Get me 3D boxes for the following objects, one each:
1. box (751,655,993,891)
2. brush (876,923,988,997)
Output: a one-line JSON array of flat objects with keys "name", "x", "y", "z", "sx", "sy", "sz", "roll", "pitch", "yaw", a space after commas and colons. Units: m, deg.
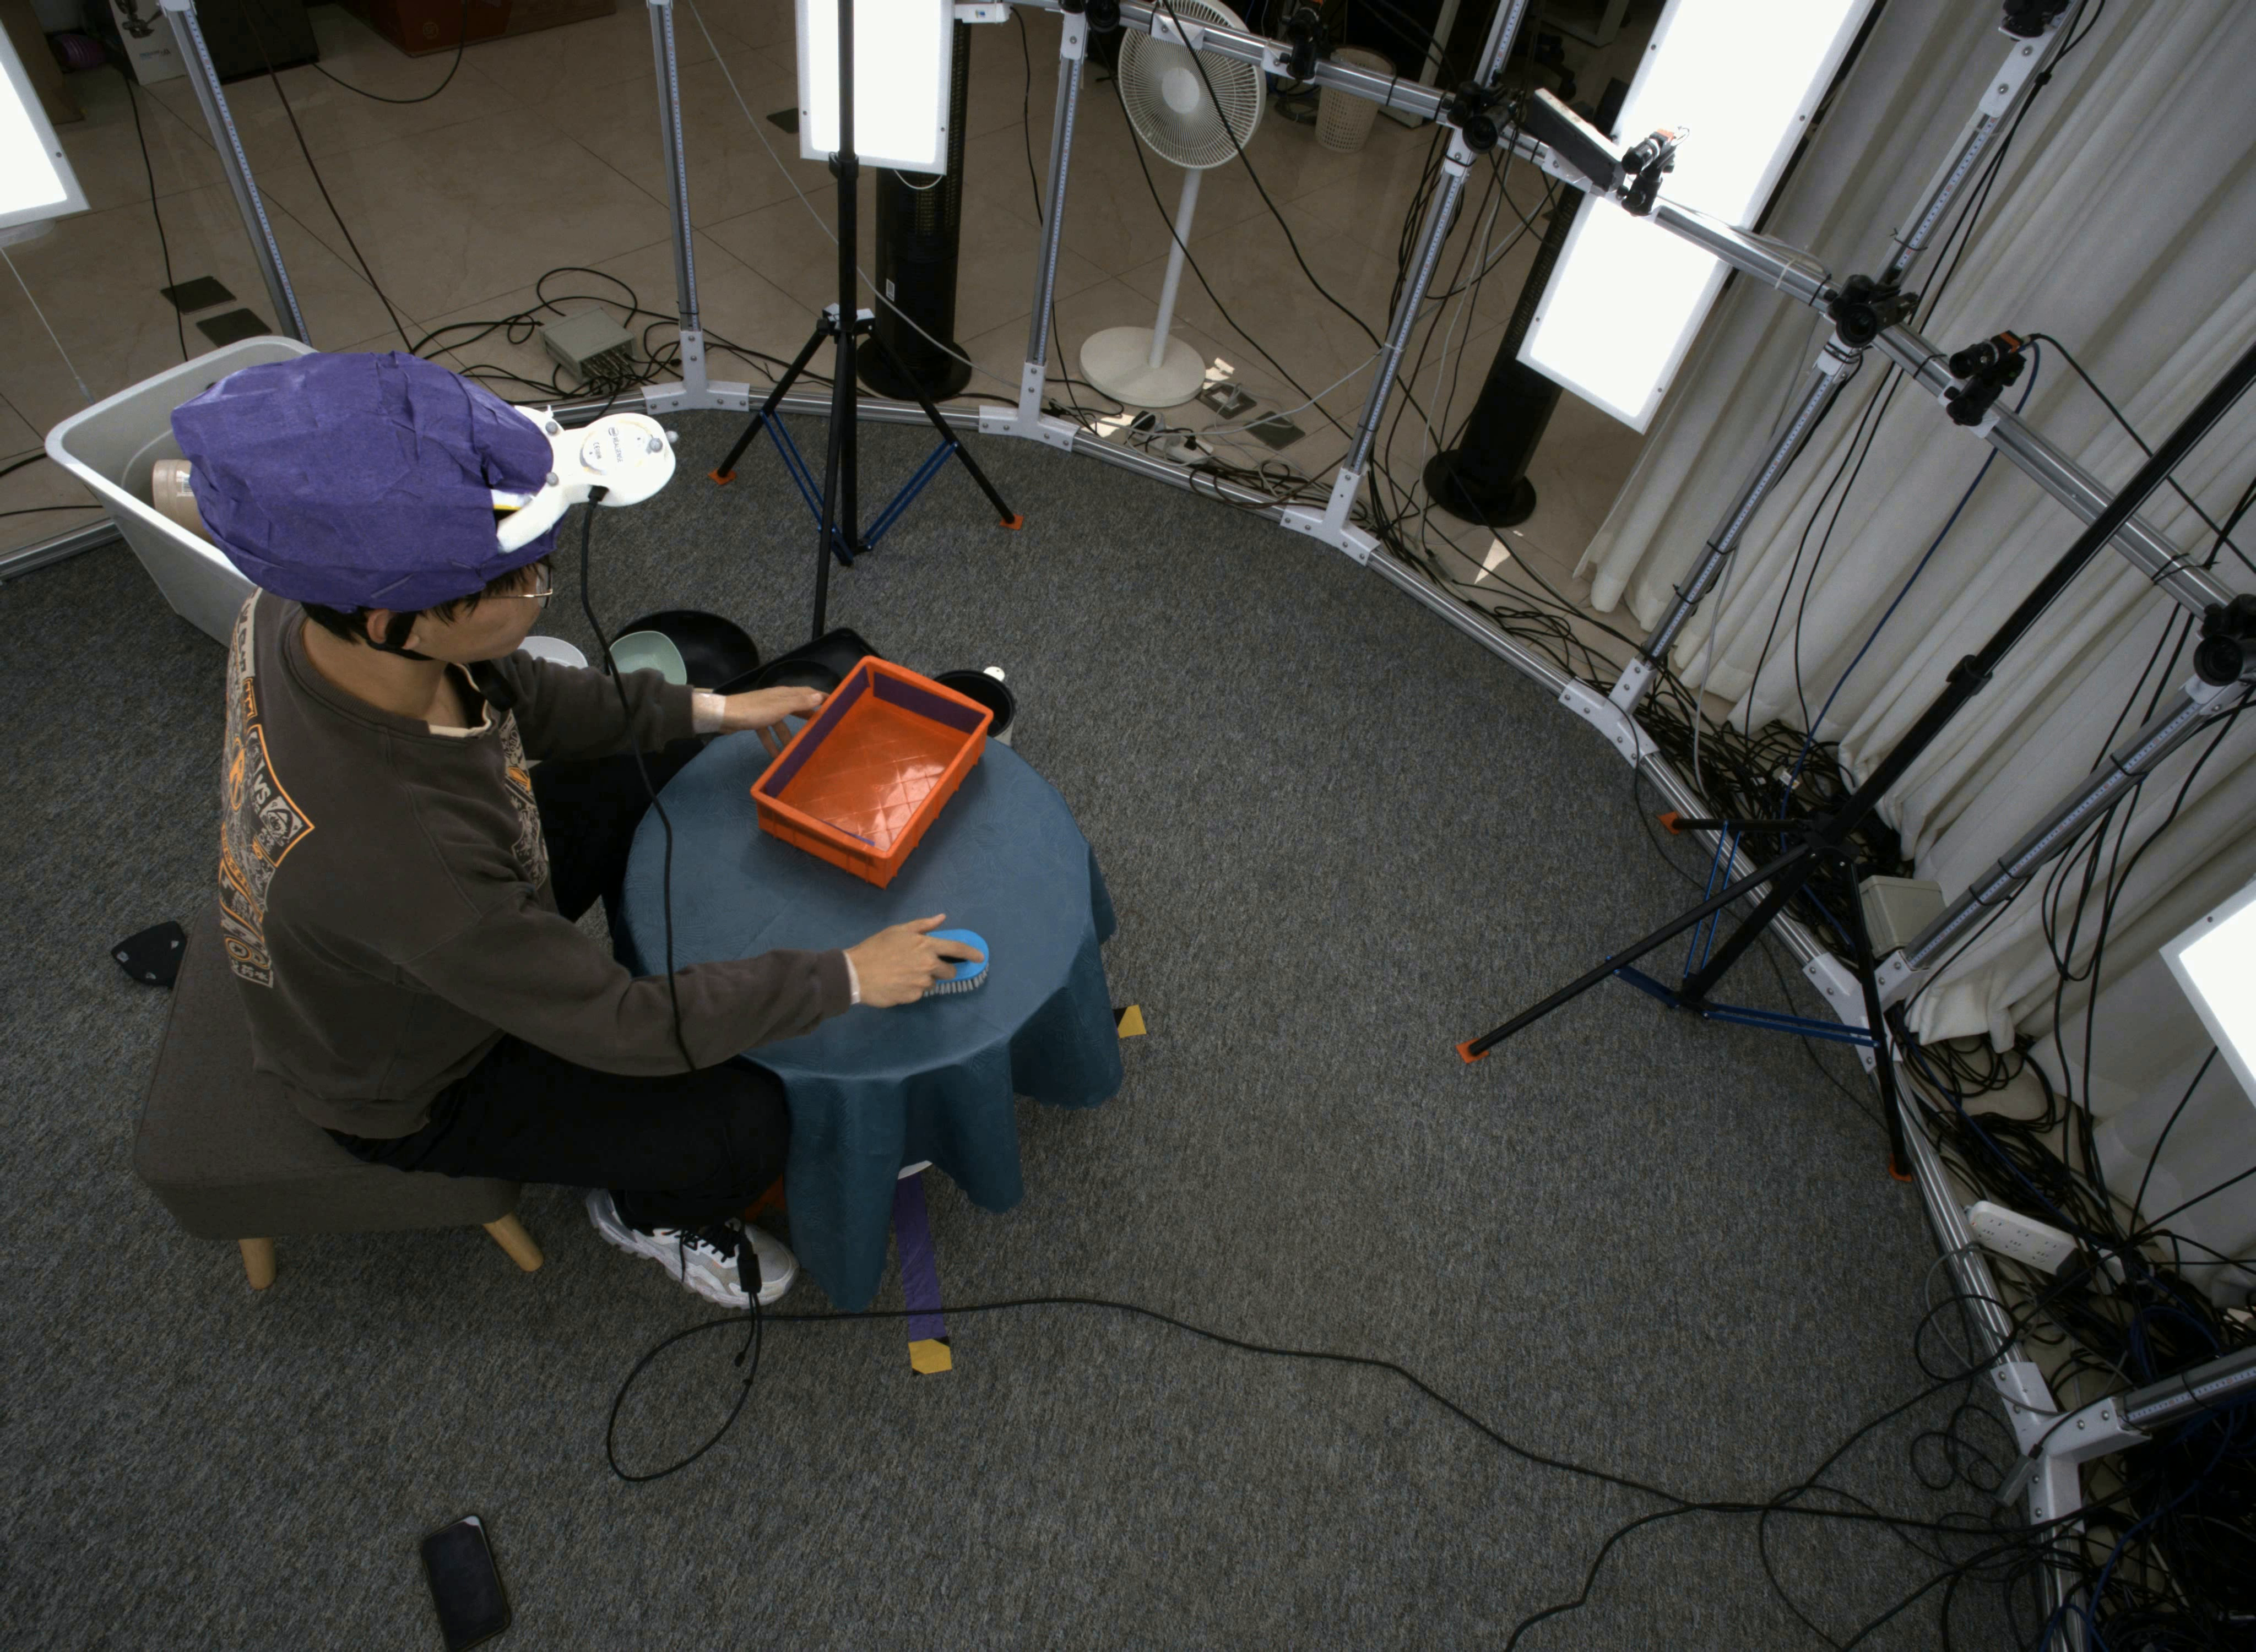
[{"name": "box", "x": -0.340, "y": -0.071, "z": 1.756, "sx": 0.203, "sy": 0.098, "sz": 0.302, "roll": 26, "pitch": 52, "yaw": 7}, {"name": "brush", "x": -0.243, "y": 0.158, "z": 1.624, "sx": 0.142, "sy": 0.065, "sz": 0.083, "roll": -4, "pitch": 59, "yaw": -14}]
